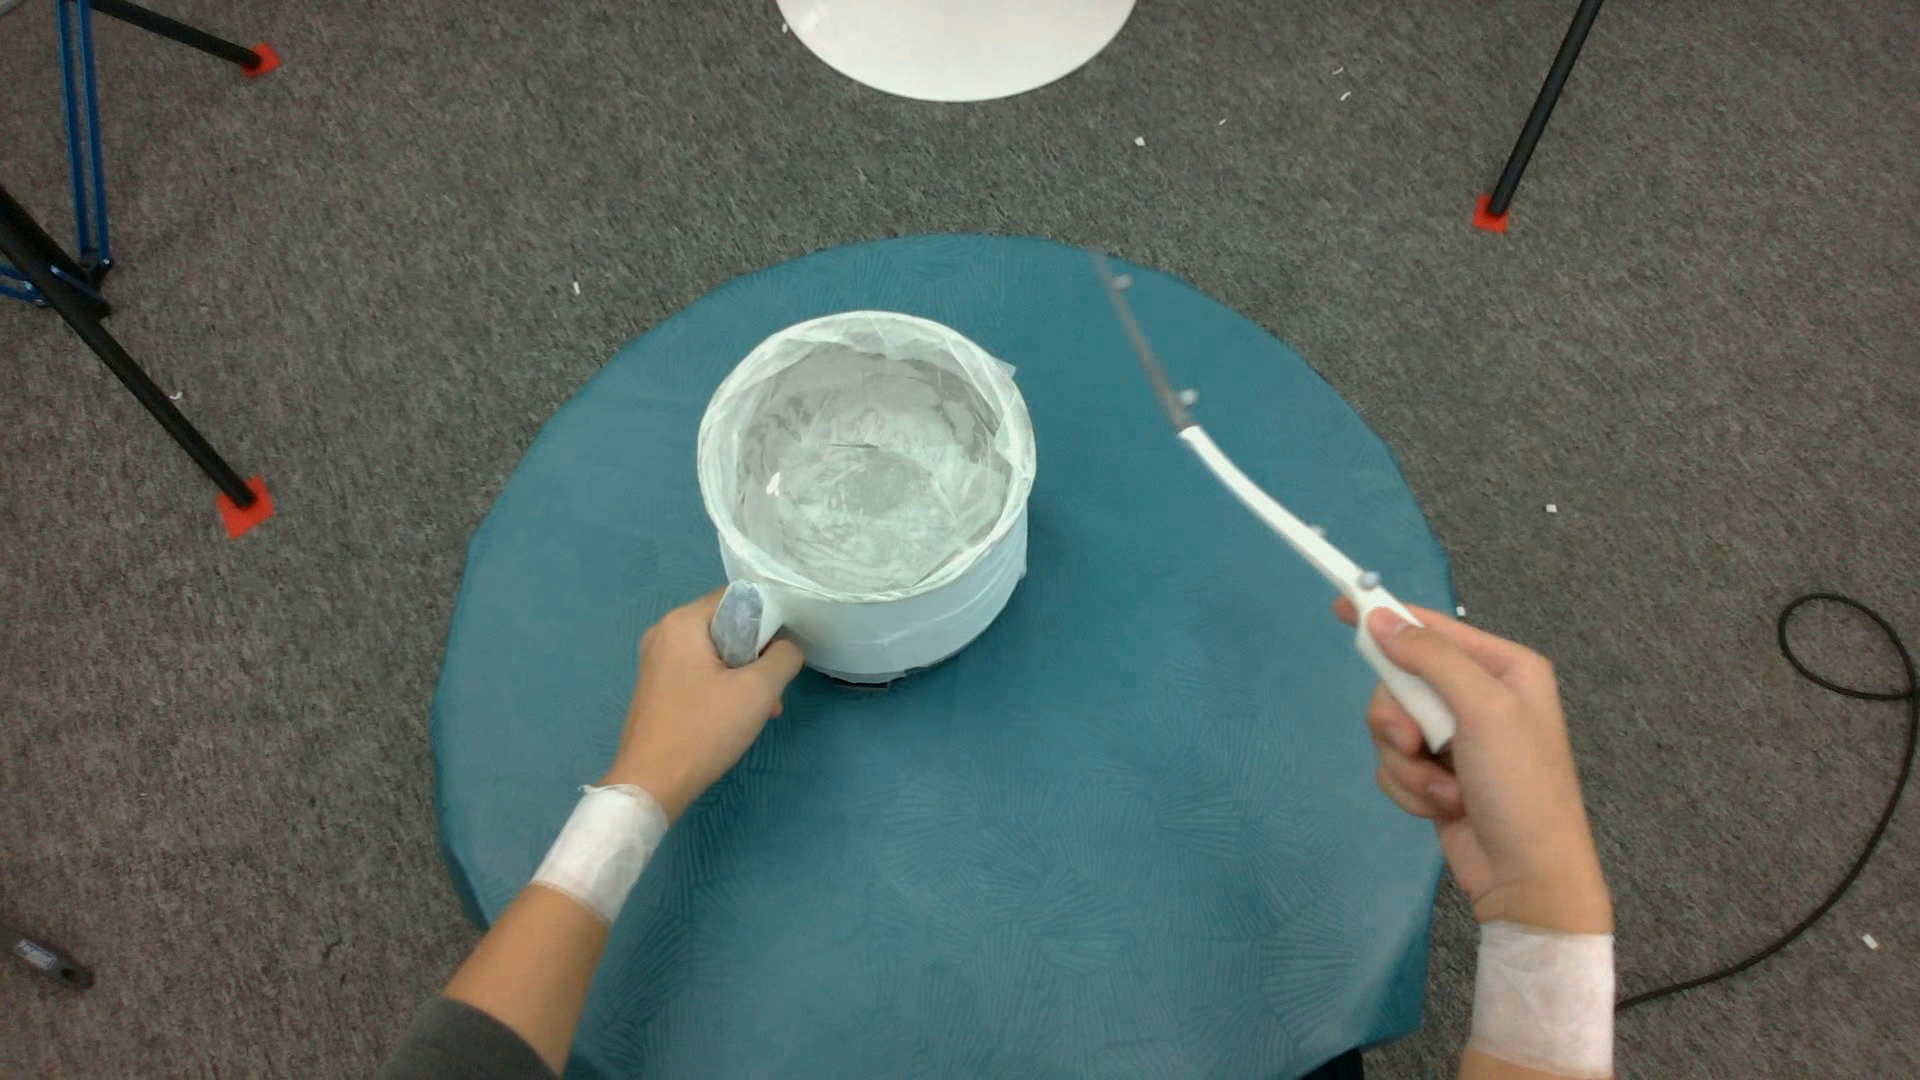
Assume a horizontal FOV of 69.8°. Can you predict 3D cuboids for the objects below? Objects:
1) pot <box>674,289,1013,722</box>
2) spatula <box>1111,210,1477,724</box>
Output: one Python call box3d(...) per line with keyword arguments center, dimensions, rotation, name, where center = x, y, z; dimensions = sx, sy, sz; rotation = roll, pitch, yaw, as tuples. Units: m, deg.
box3d(center=(-0.076, -0.009, 0.761), dimensions=(0.179, 0.136, 0.234), rotation=(30, 67, 13), name="pot")
box3d(center=(0.138, -0.042, 0.641), dimensions=(0.032, 0.058, 0.288), rotation=(-34, 64, 6), name="spatula")
